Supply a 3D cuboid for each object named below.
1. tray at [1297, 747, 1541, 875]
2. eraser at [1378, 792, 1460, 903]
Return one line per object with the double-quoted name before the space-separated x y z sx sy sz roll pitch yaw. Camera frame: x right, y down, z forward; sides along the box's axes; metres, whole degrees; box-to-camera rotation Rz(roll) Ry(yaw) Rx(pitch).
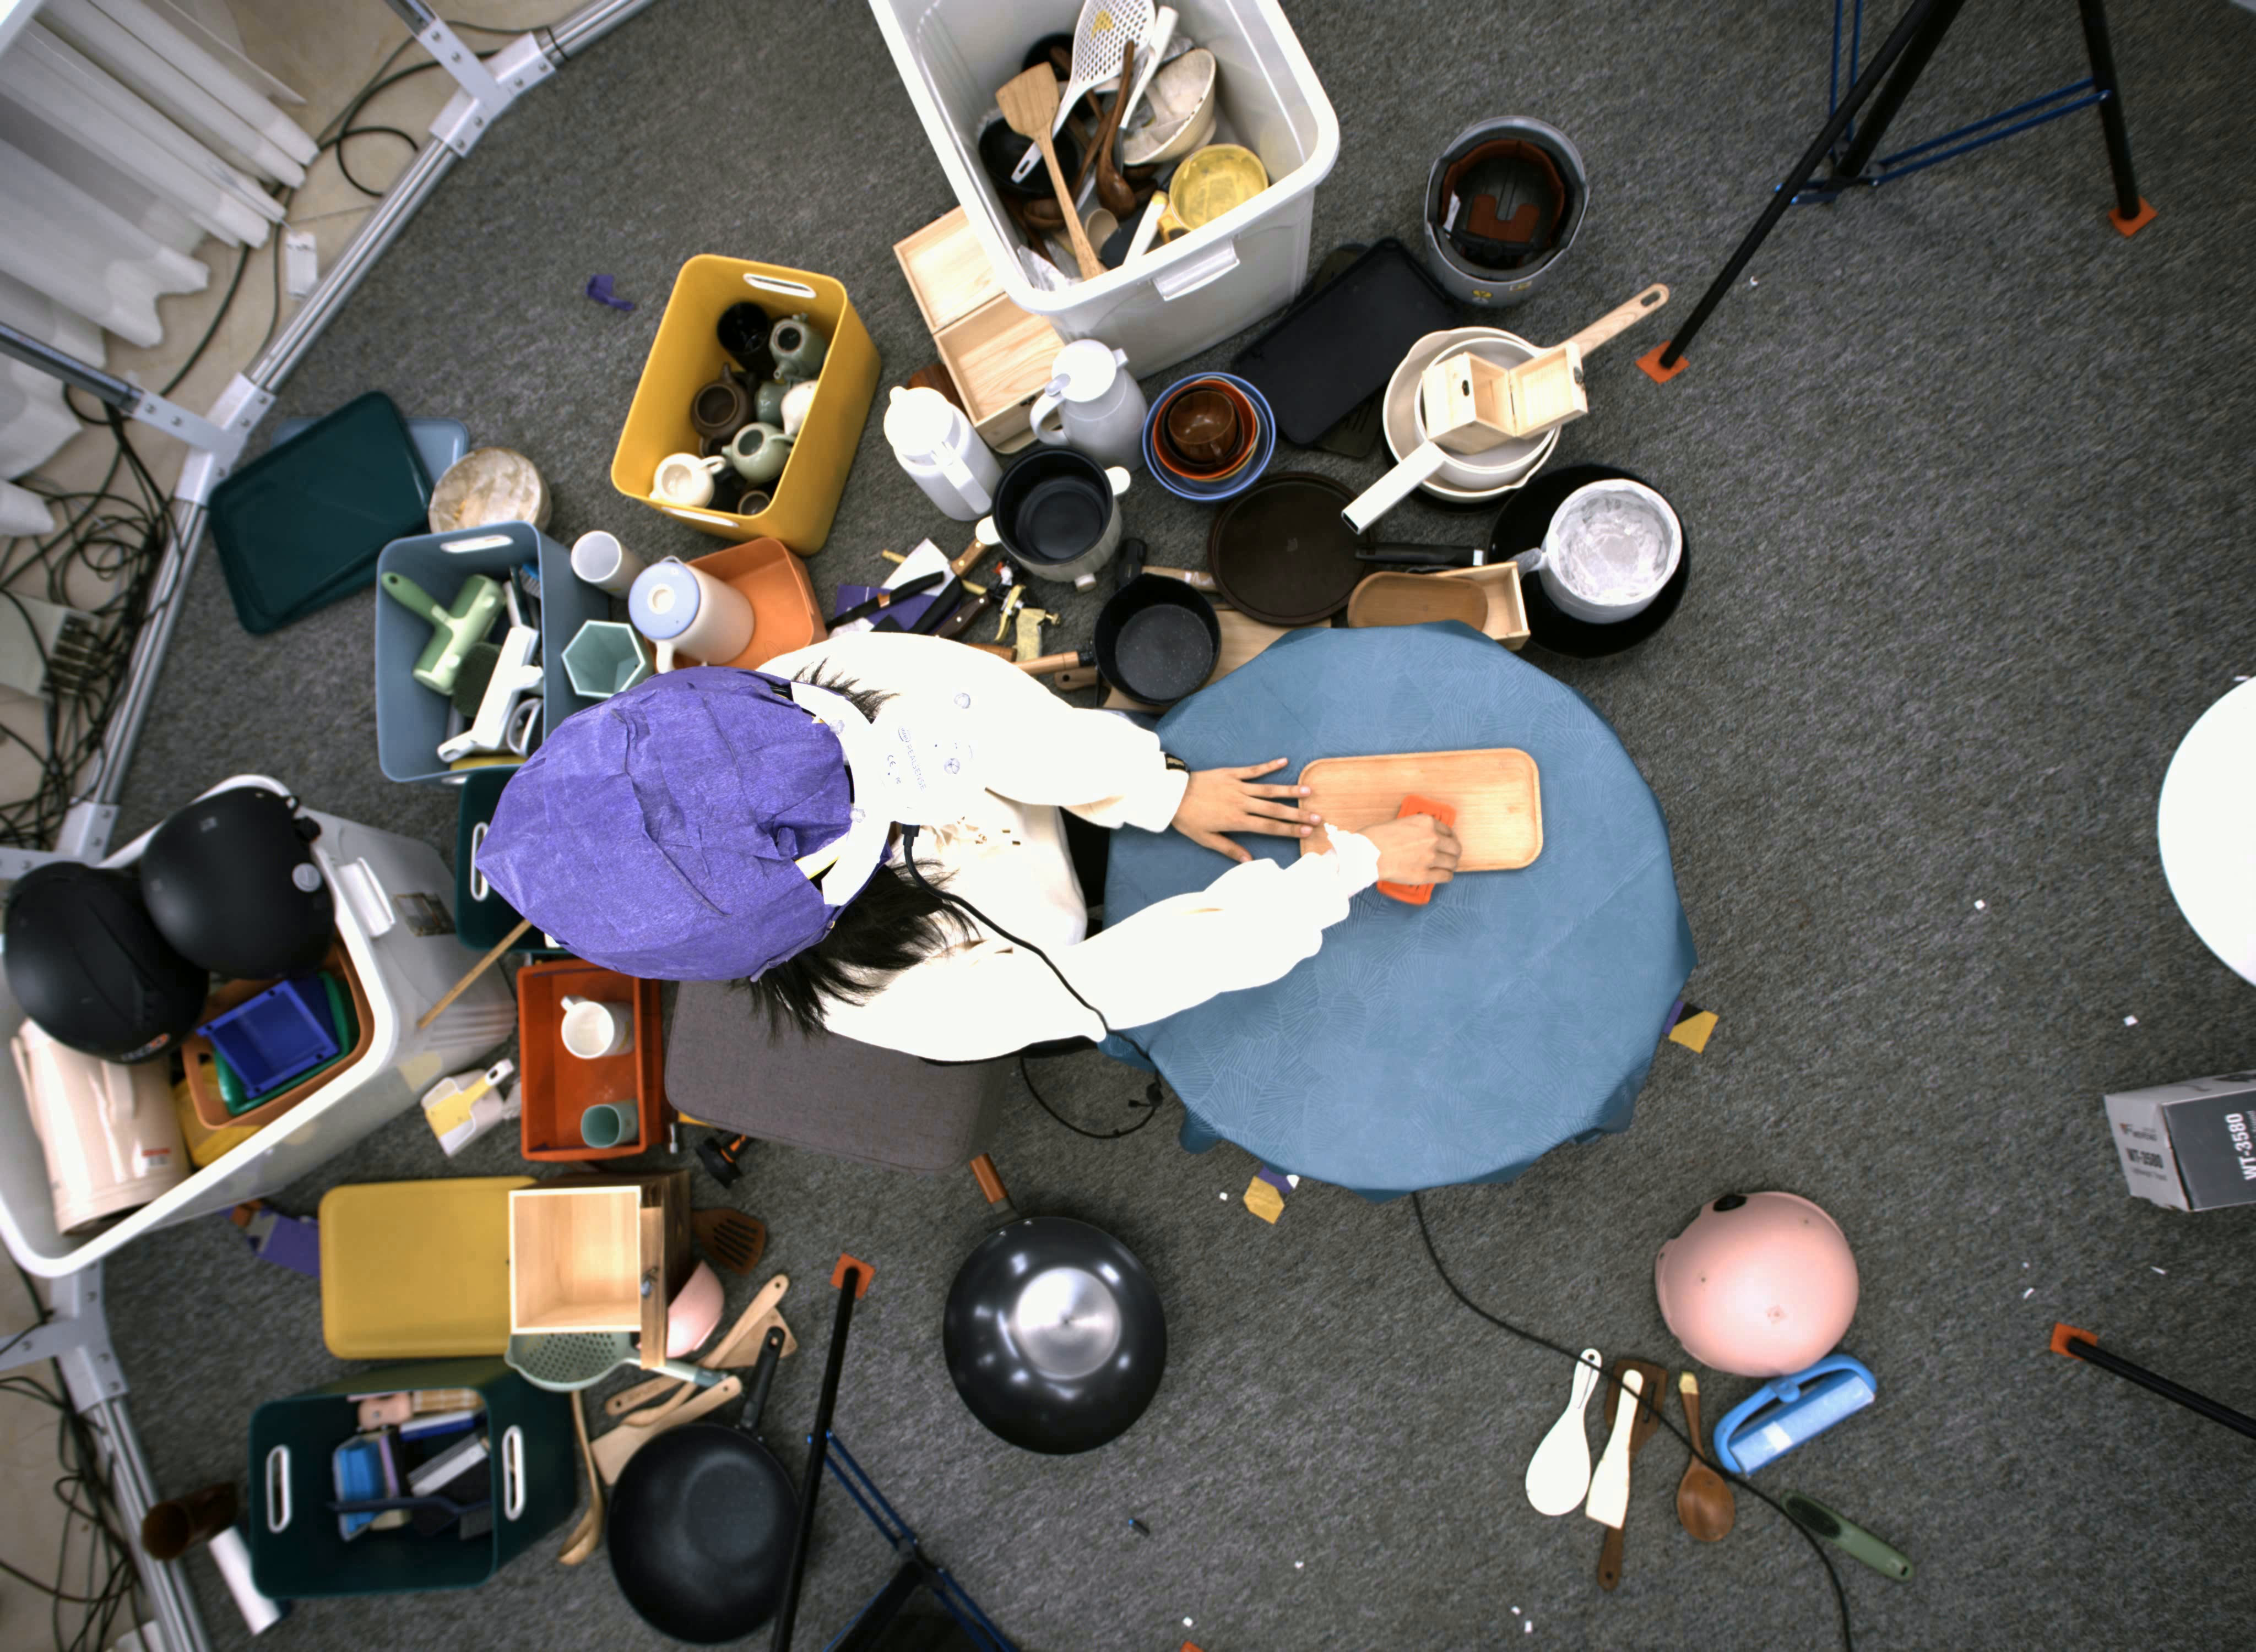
"tray" 0.305 -0.016 1.449 0.252 0.023 0.129 -2 84 11
"eraser" 0.303 0.021 1.433 0.059 0.023 0.107 20 85 13
